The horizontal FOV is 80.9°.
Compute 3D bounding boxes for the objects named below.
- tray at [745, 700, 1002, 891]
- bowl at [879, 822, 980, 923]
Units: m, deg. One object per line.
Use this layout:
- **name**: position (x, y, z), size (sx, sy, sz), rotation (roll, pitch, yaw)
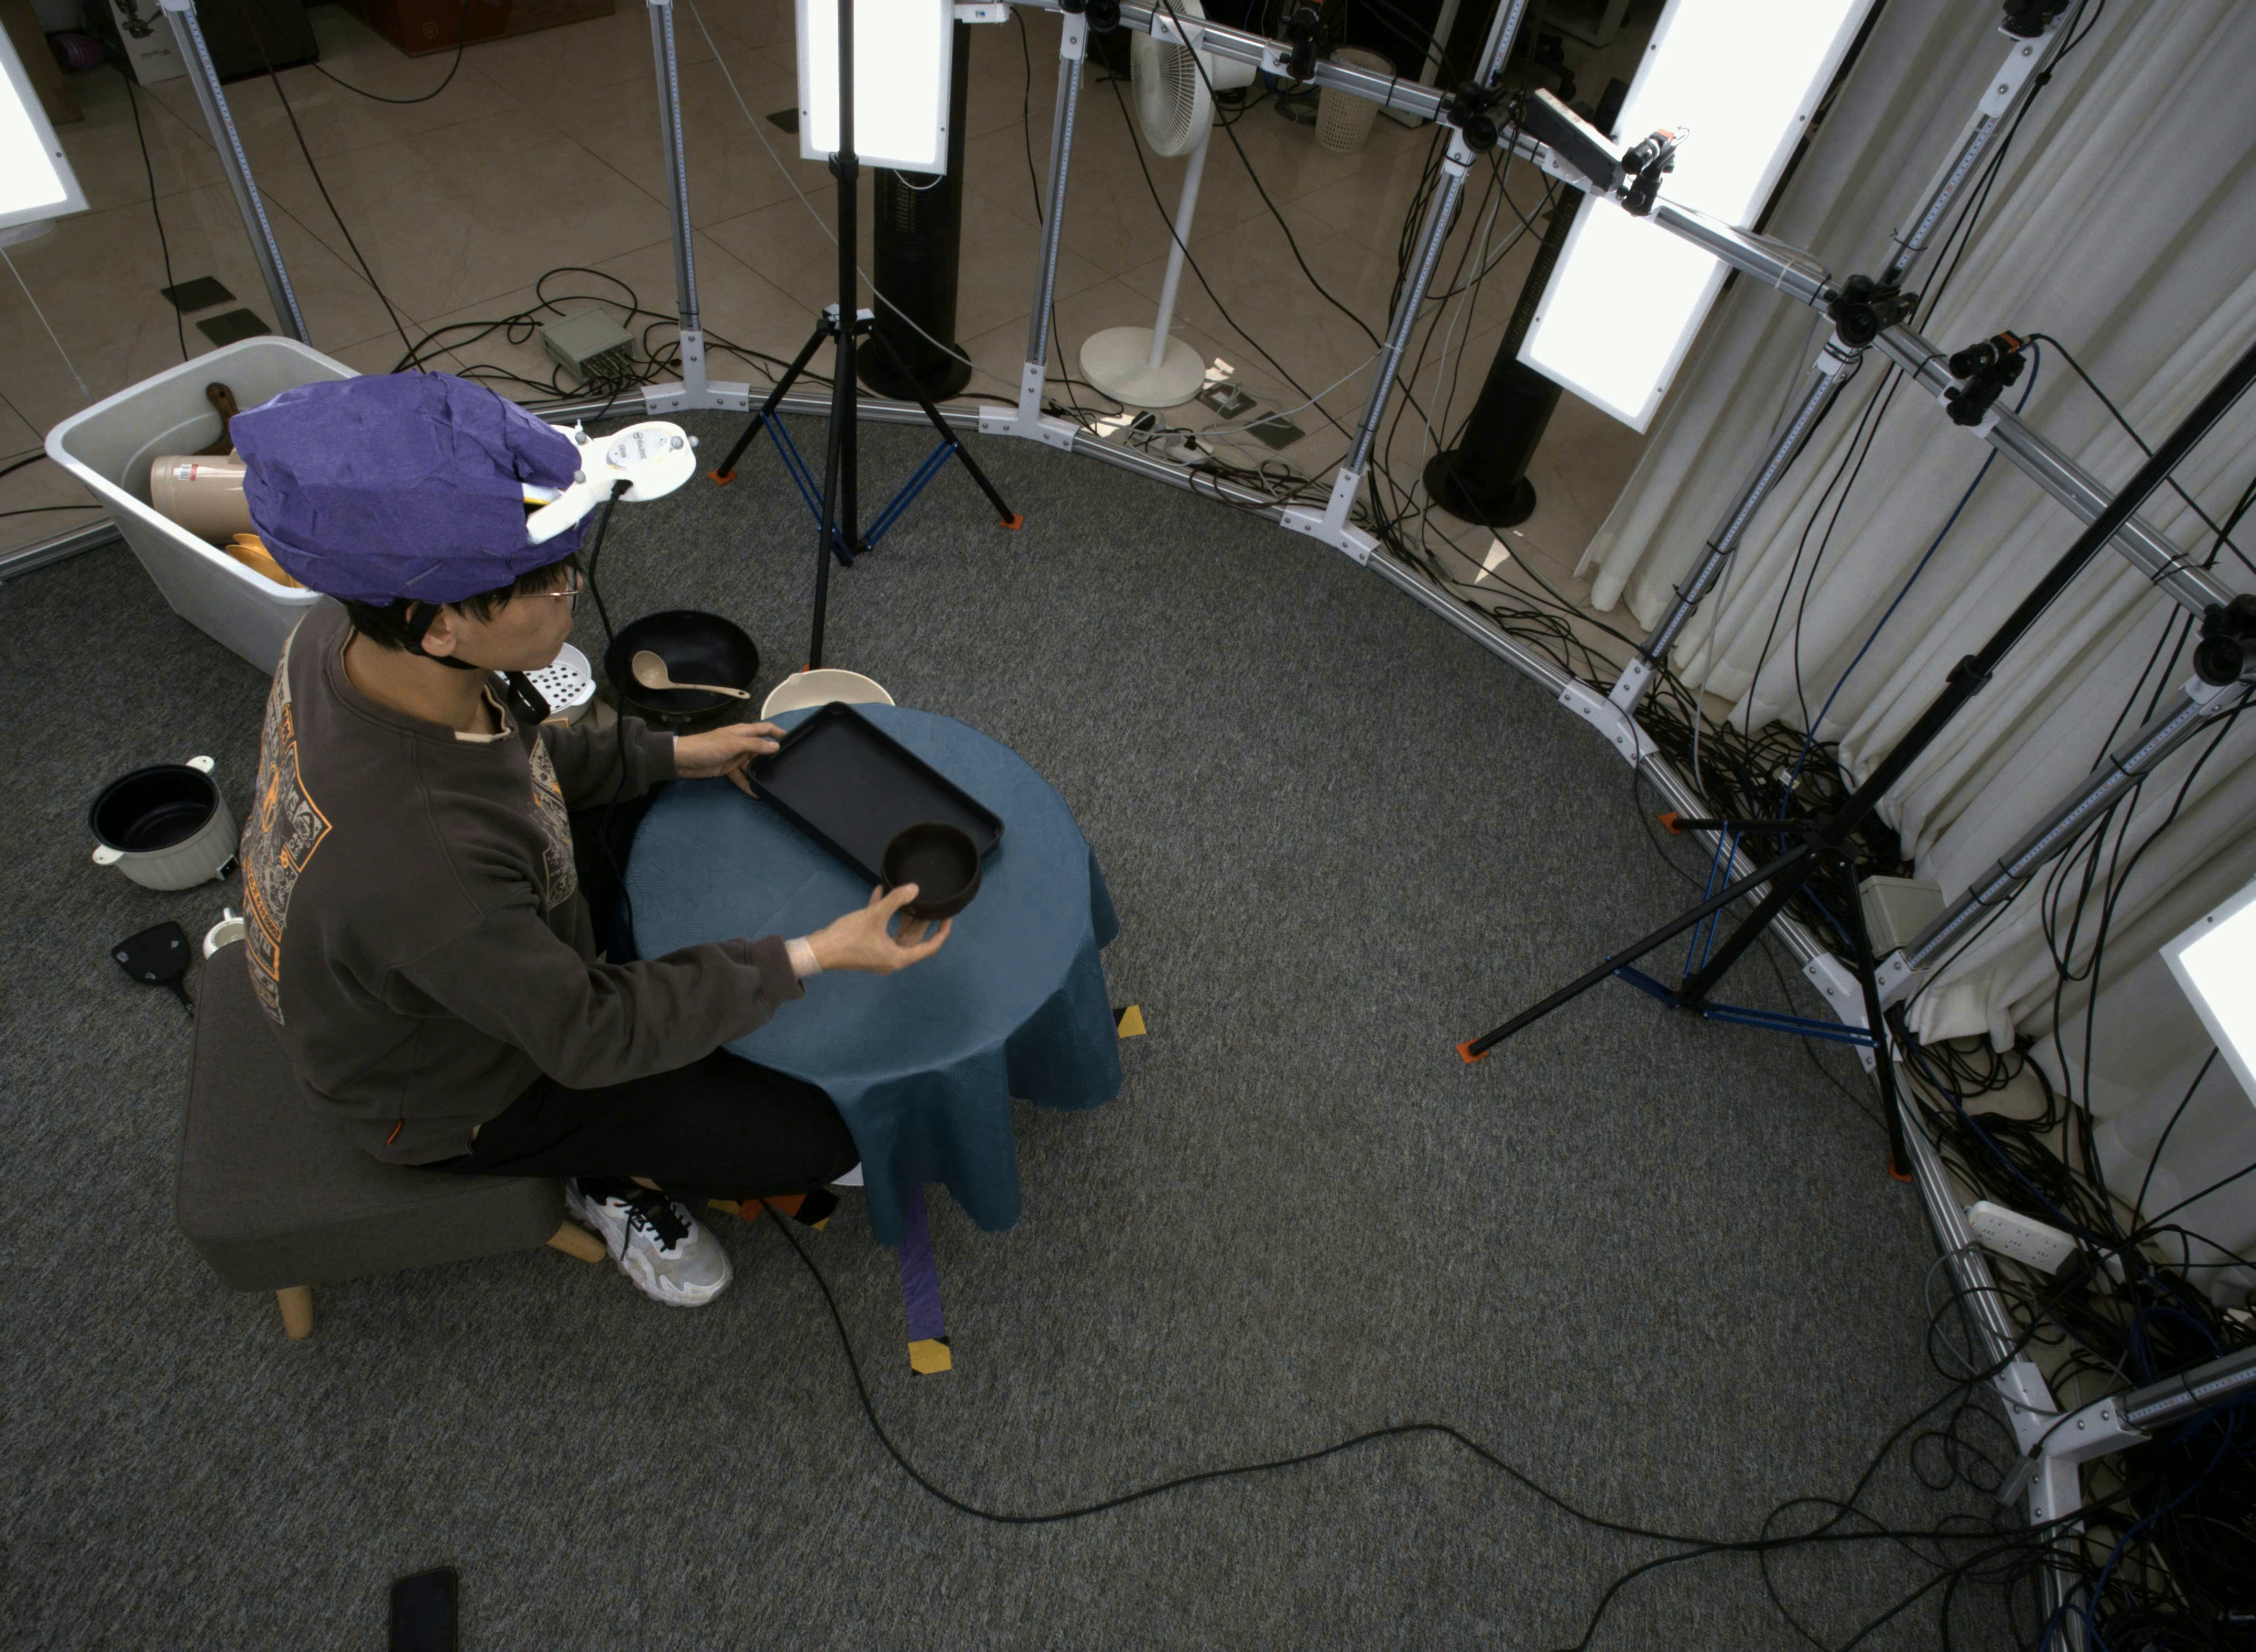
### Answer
- **tray**: position (-0.341, -0.031, 1.749), size (0.313, 0.037, 0.184), rotation (35, 55, 8)
- **bowl**: position (-0.233, 0.062, 1.541), size (0.117, 0.071, 0.116), rotation (3, 58, -3)
